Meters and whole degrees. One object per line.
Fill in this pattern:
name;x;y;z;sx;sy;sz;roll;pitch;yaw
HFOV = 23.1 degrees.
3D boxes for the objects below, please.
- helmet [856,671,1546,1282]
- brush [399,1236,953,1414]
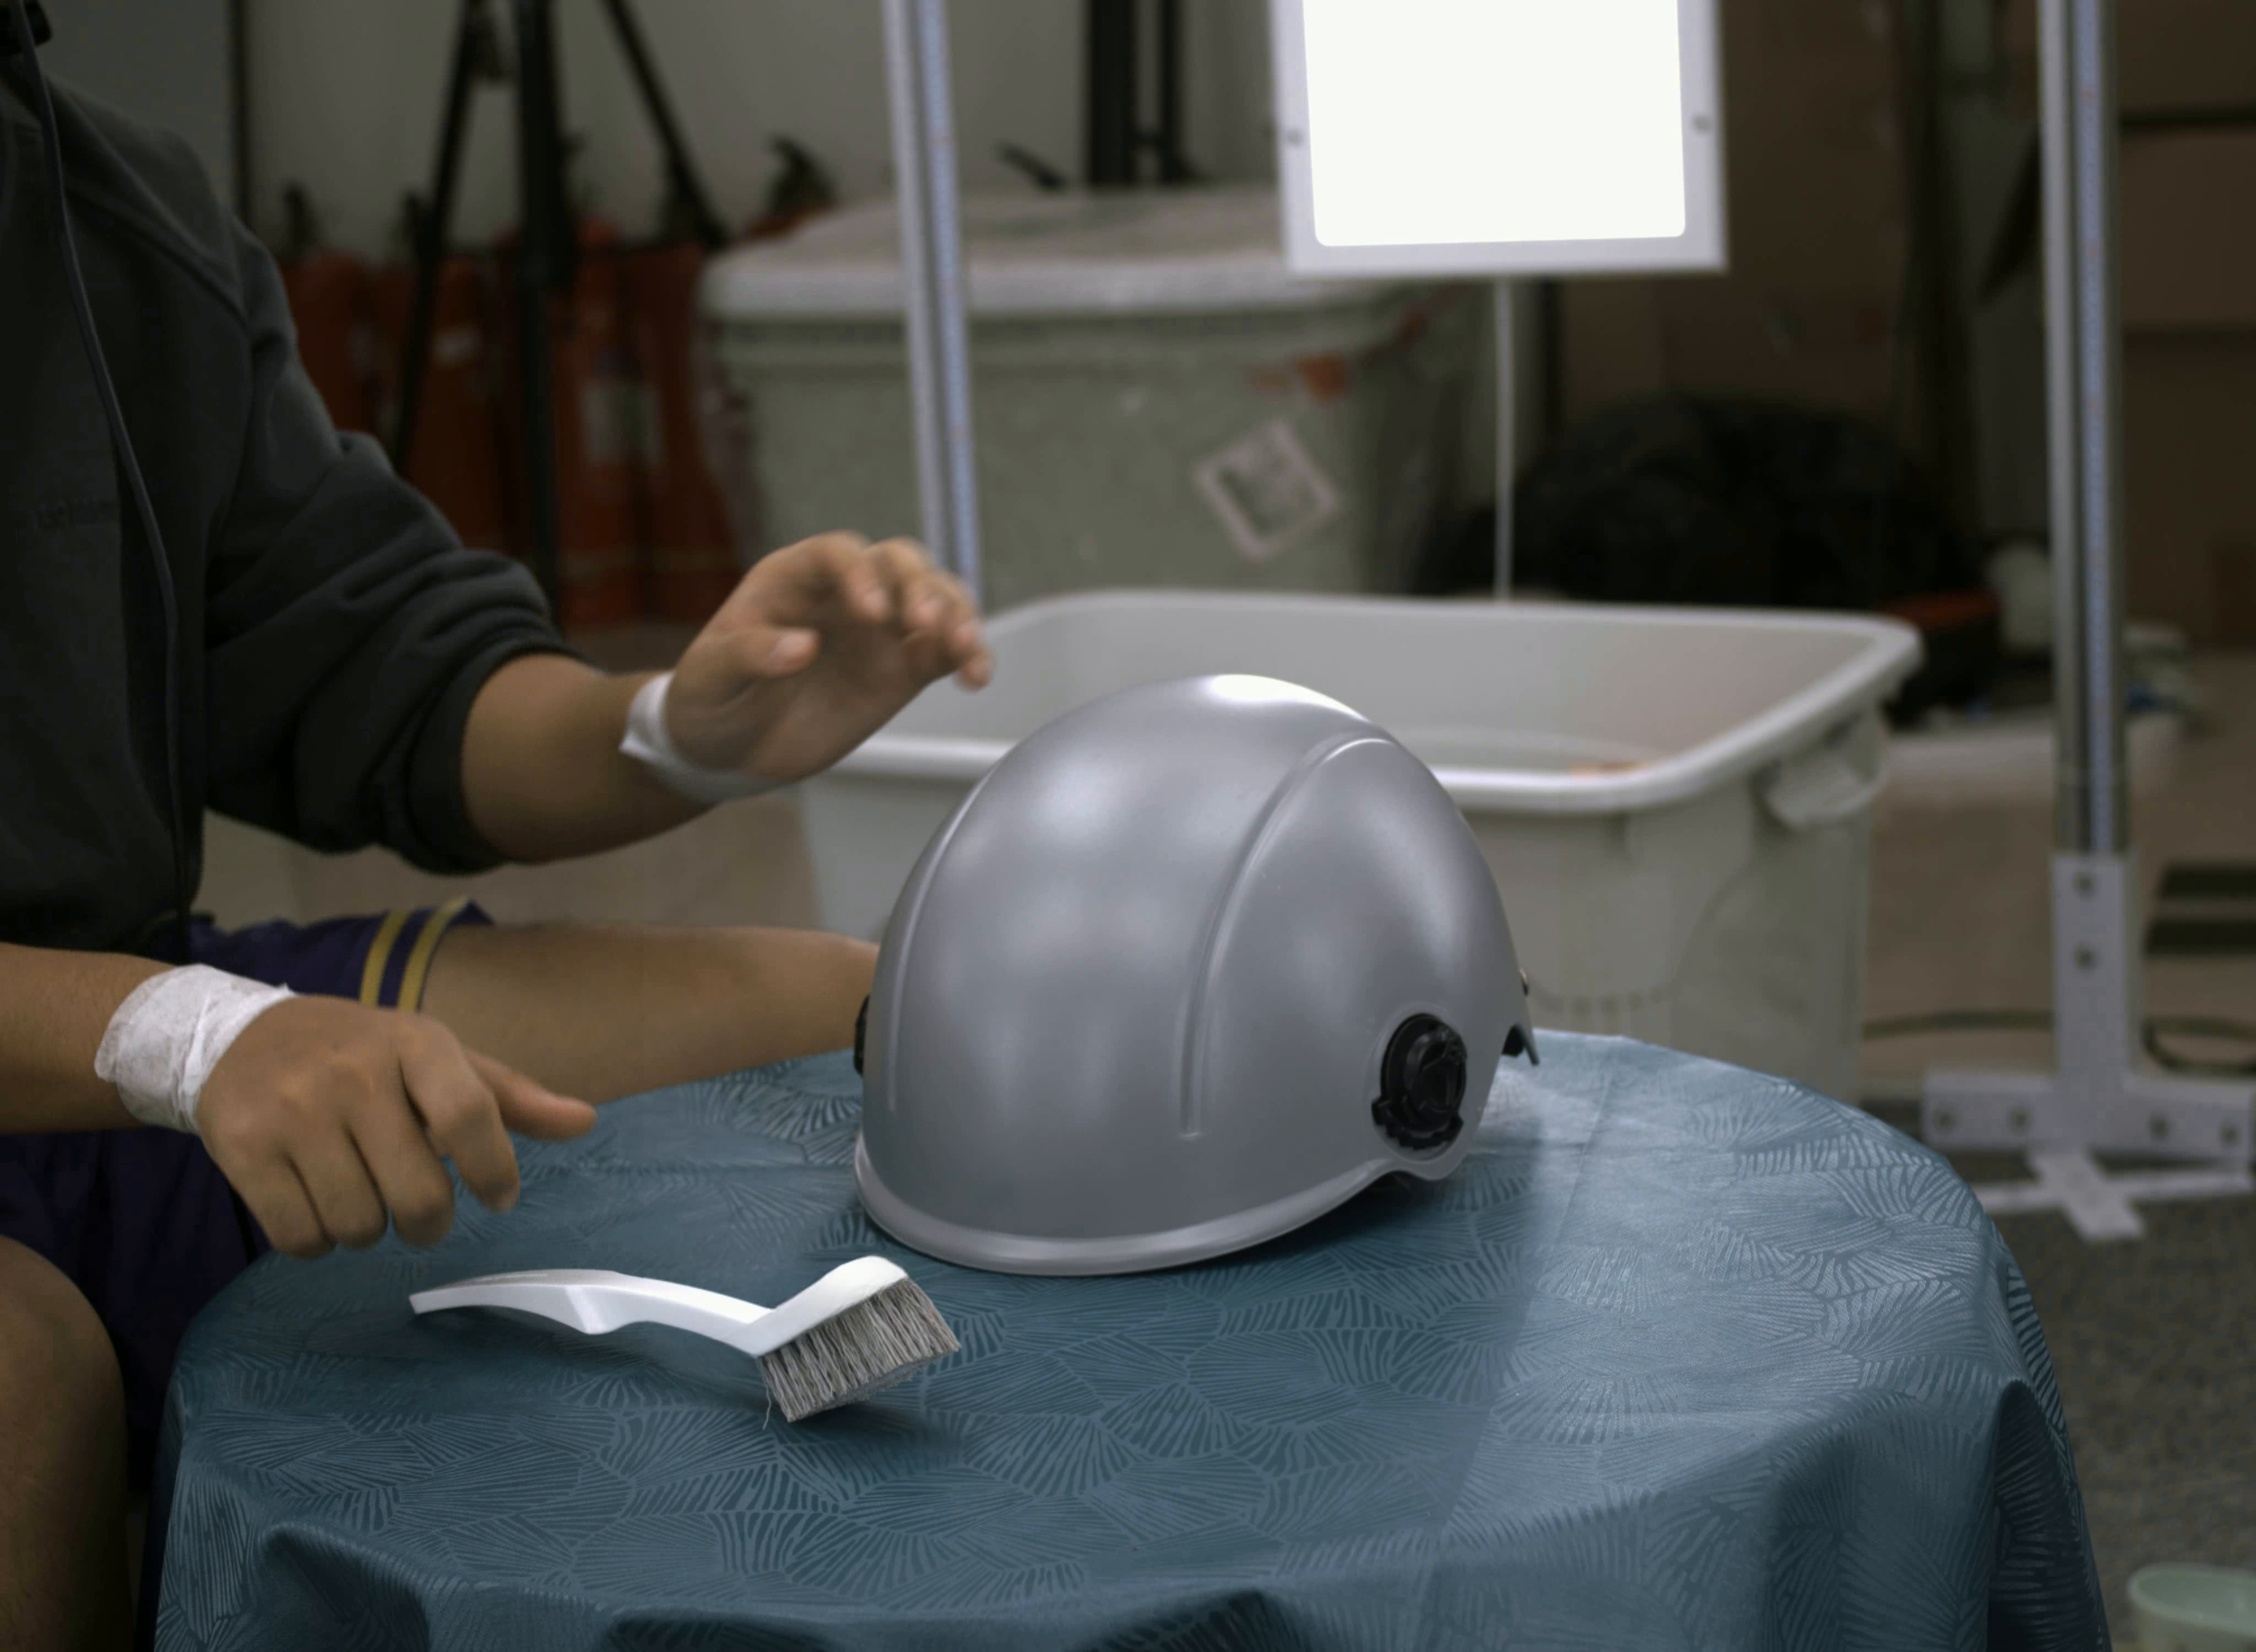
helmet;0.018;0.037;1.912;0.236;0.169;0.270;3;18;29
brush;-0.148;0.163;1.752;0.249;0.050;0.033;-10;3;45
